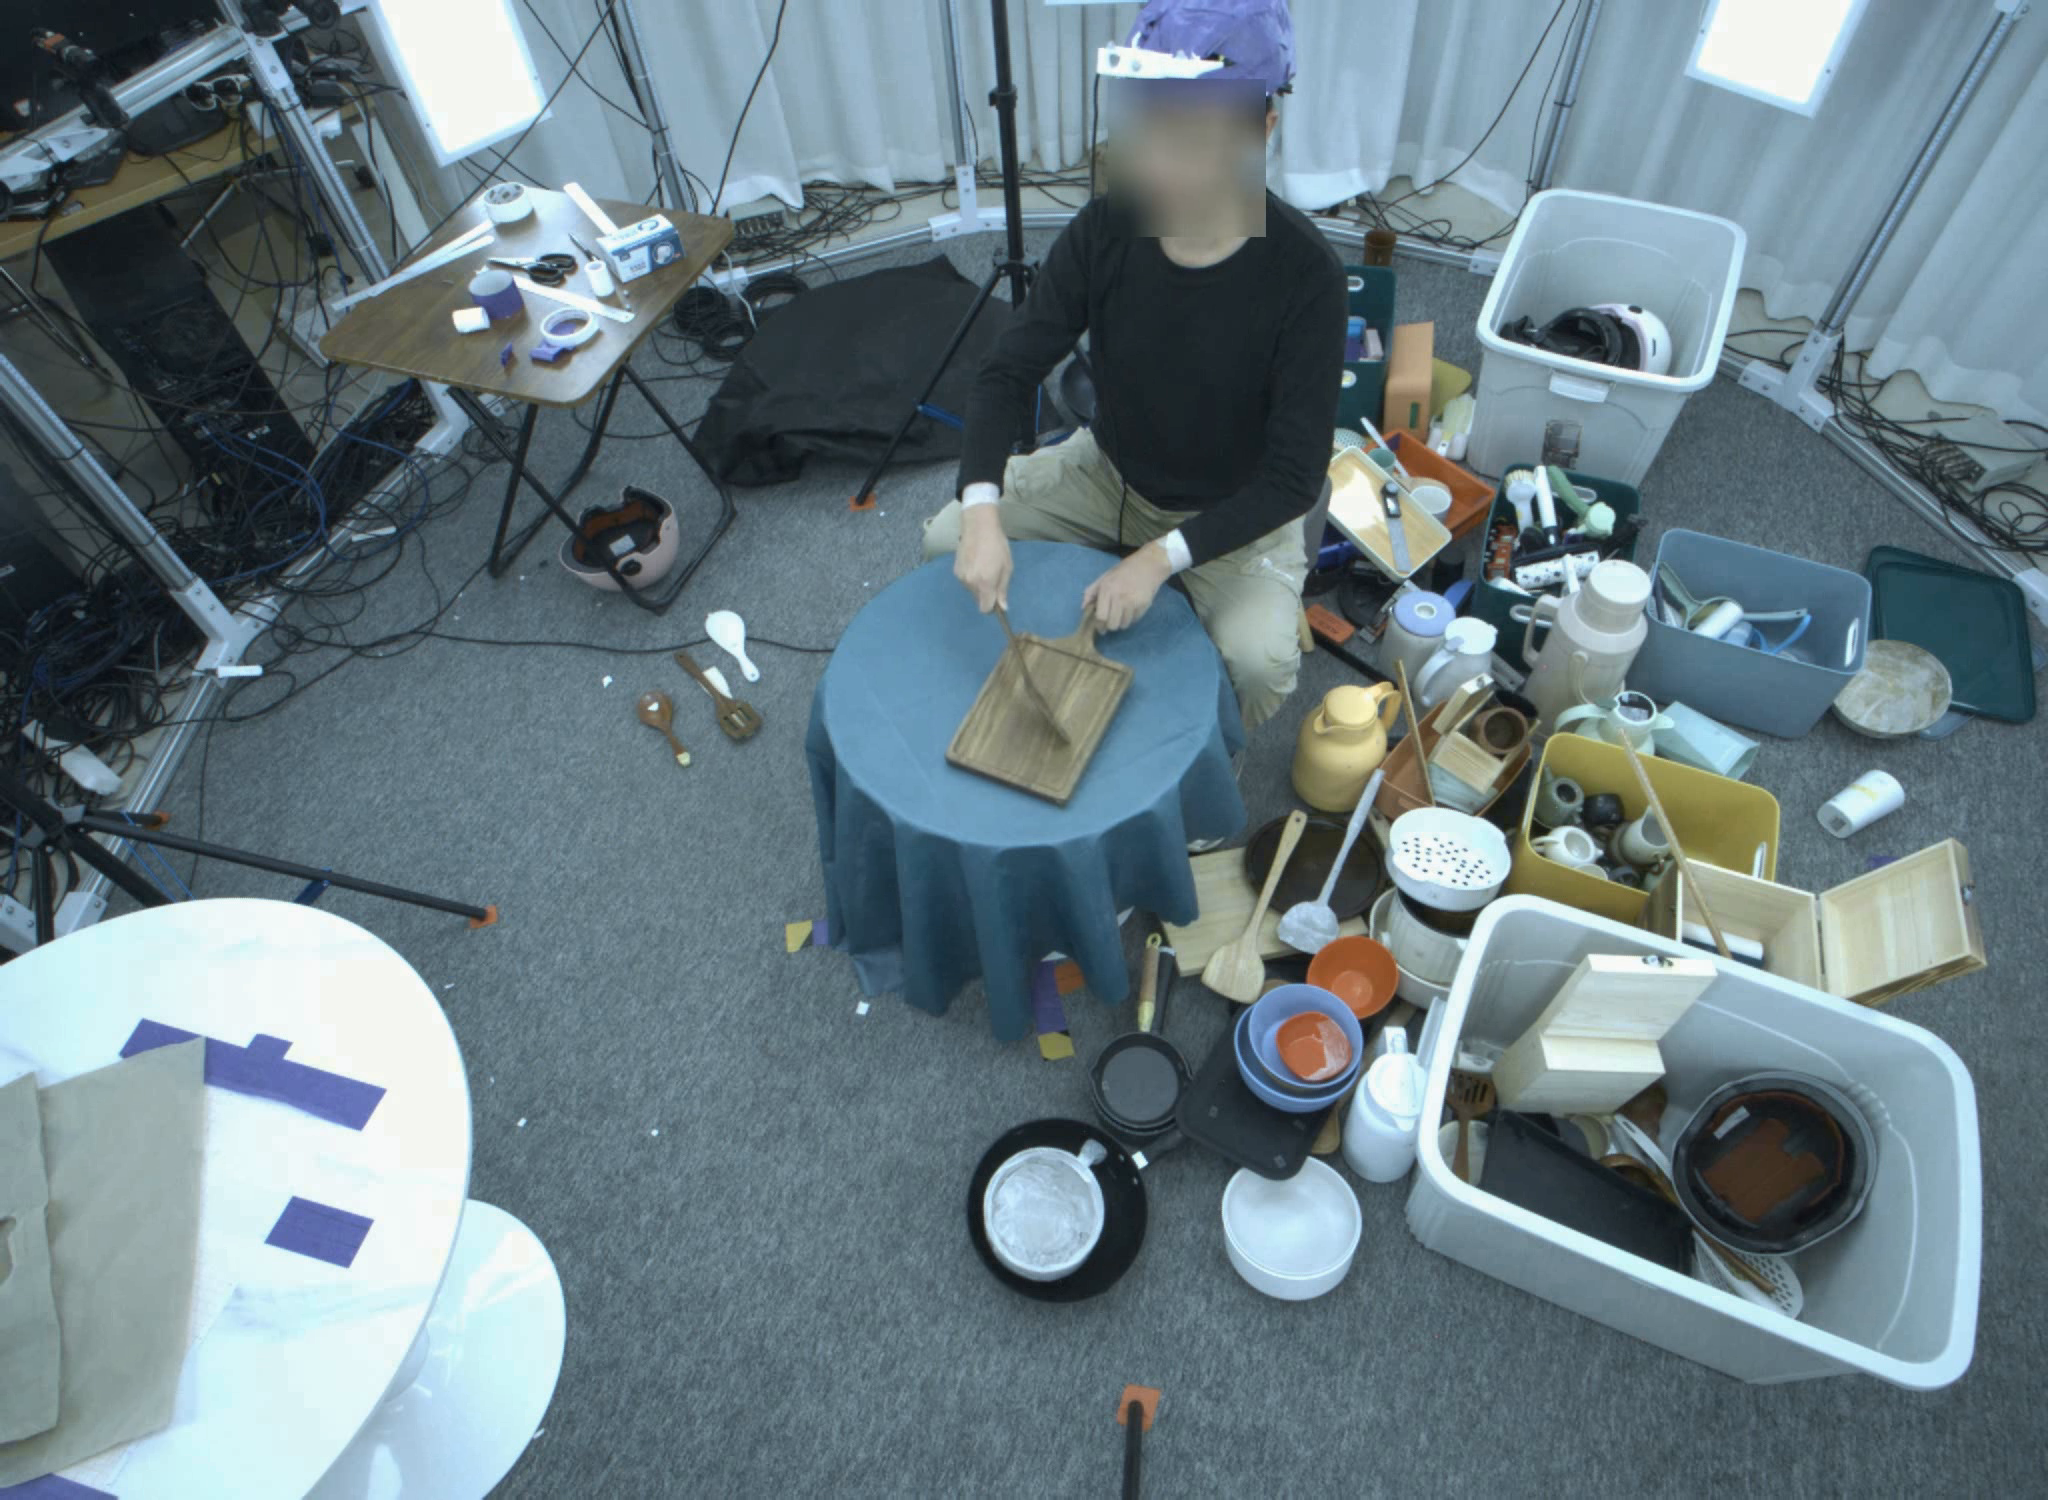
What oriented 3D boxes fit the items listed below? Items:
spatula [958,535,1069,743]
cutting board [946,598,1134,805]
[{"bbox_3d":[-0.023,-0.173,1.797,0.016,0.098,0.380,-29,66,9],"label":"spatula"},{"bbox_3d":[0.046,-0.091,1.823,0.199,0.023,0.352,20,62,15],"label":"cutting board"}]
